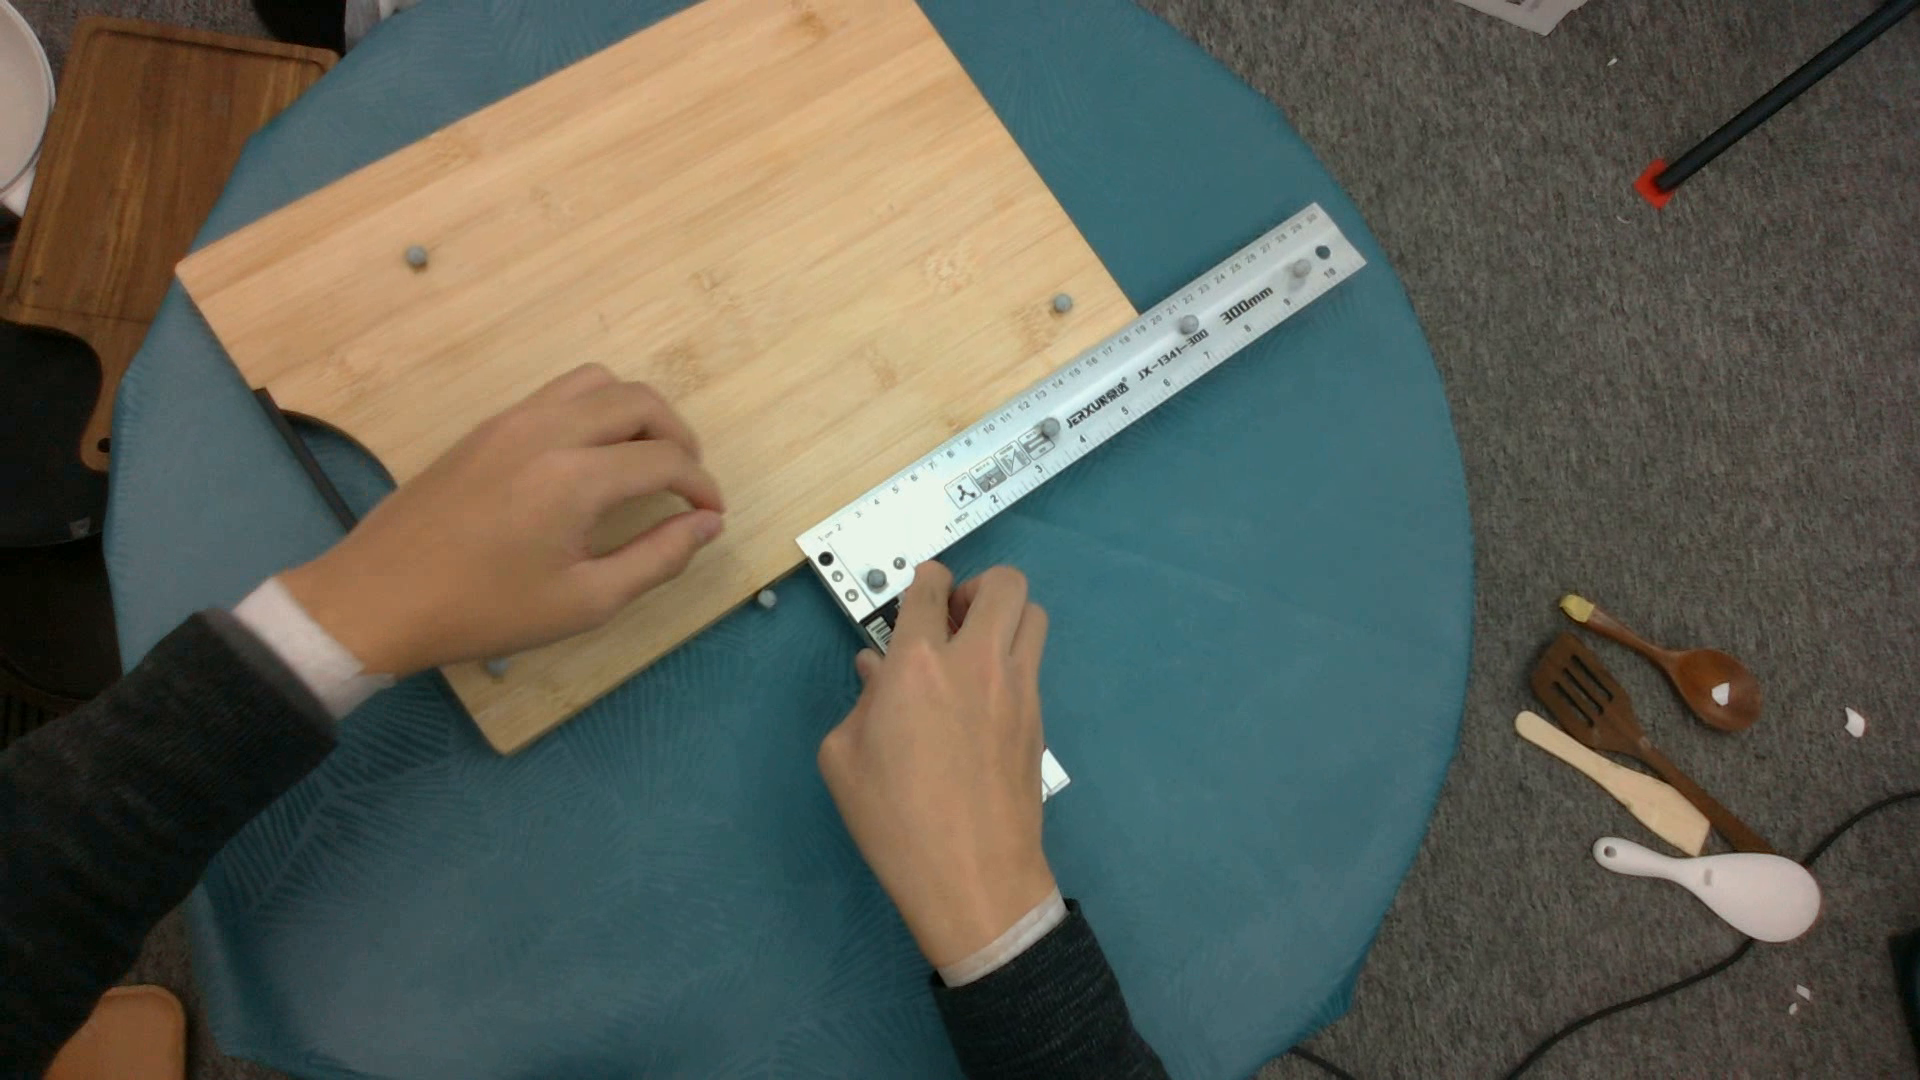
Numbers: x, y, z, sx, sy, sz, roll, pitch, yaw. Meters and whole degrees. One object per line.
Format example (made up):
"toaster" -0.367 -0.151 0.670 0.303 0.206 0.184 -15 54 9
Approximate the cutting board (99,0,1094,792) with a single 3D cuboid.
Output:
"cutting board" -0.137 -0.099 0.600 0.250 0.023 0.350 45 72 0

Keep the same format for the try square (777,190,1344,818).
"try square" 0.086 -0.029 0.621 0.314 0.016 0.152 -34 83 -18
